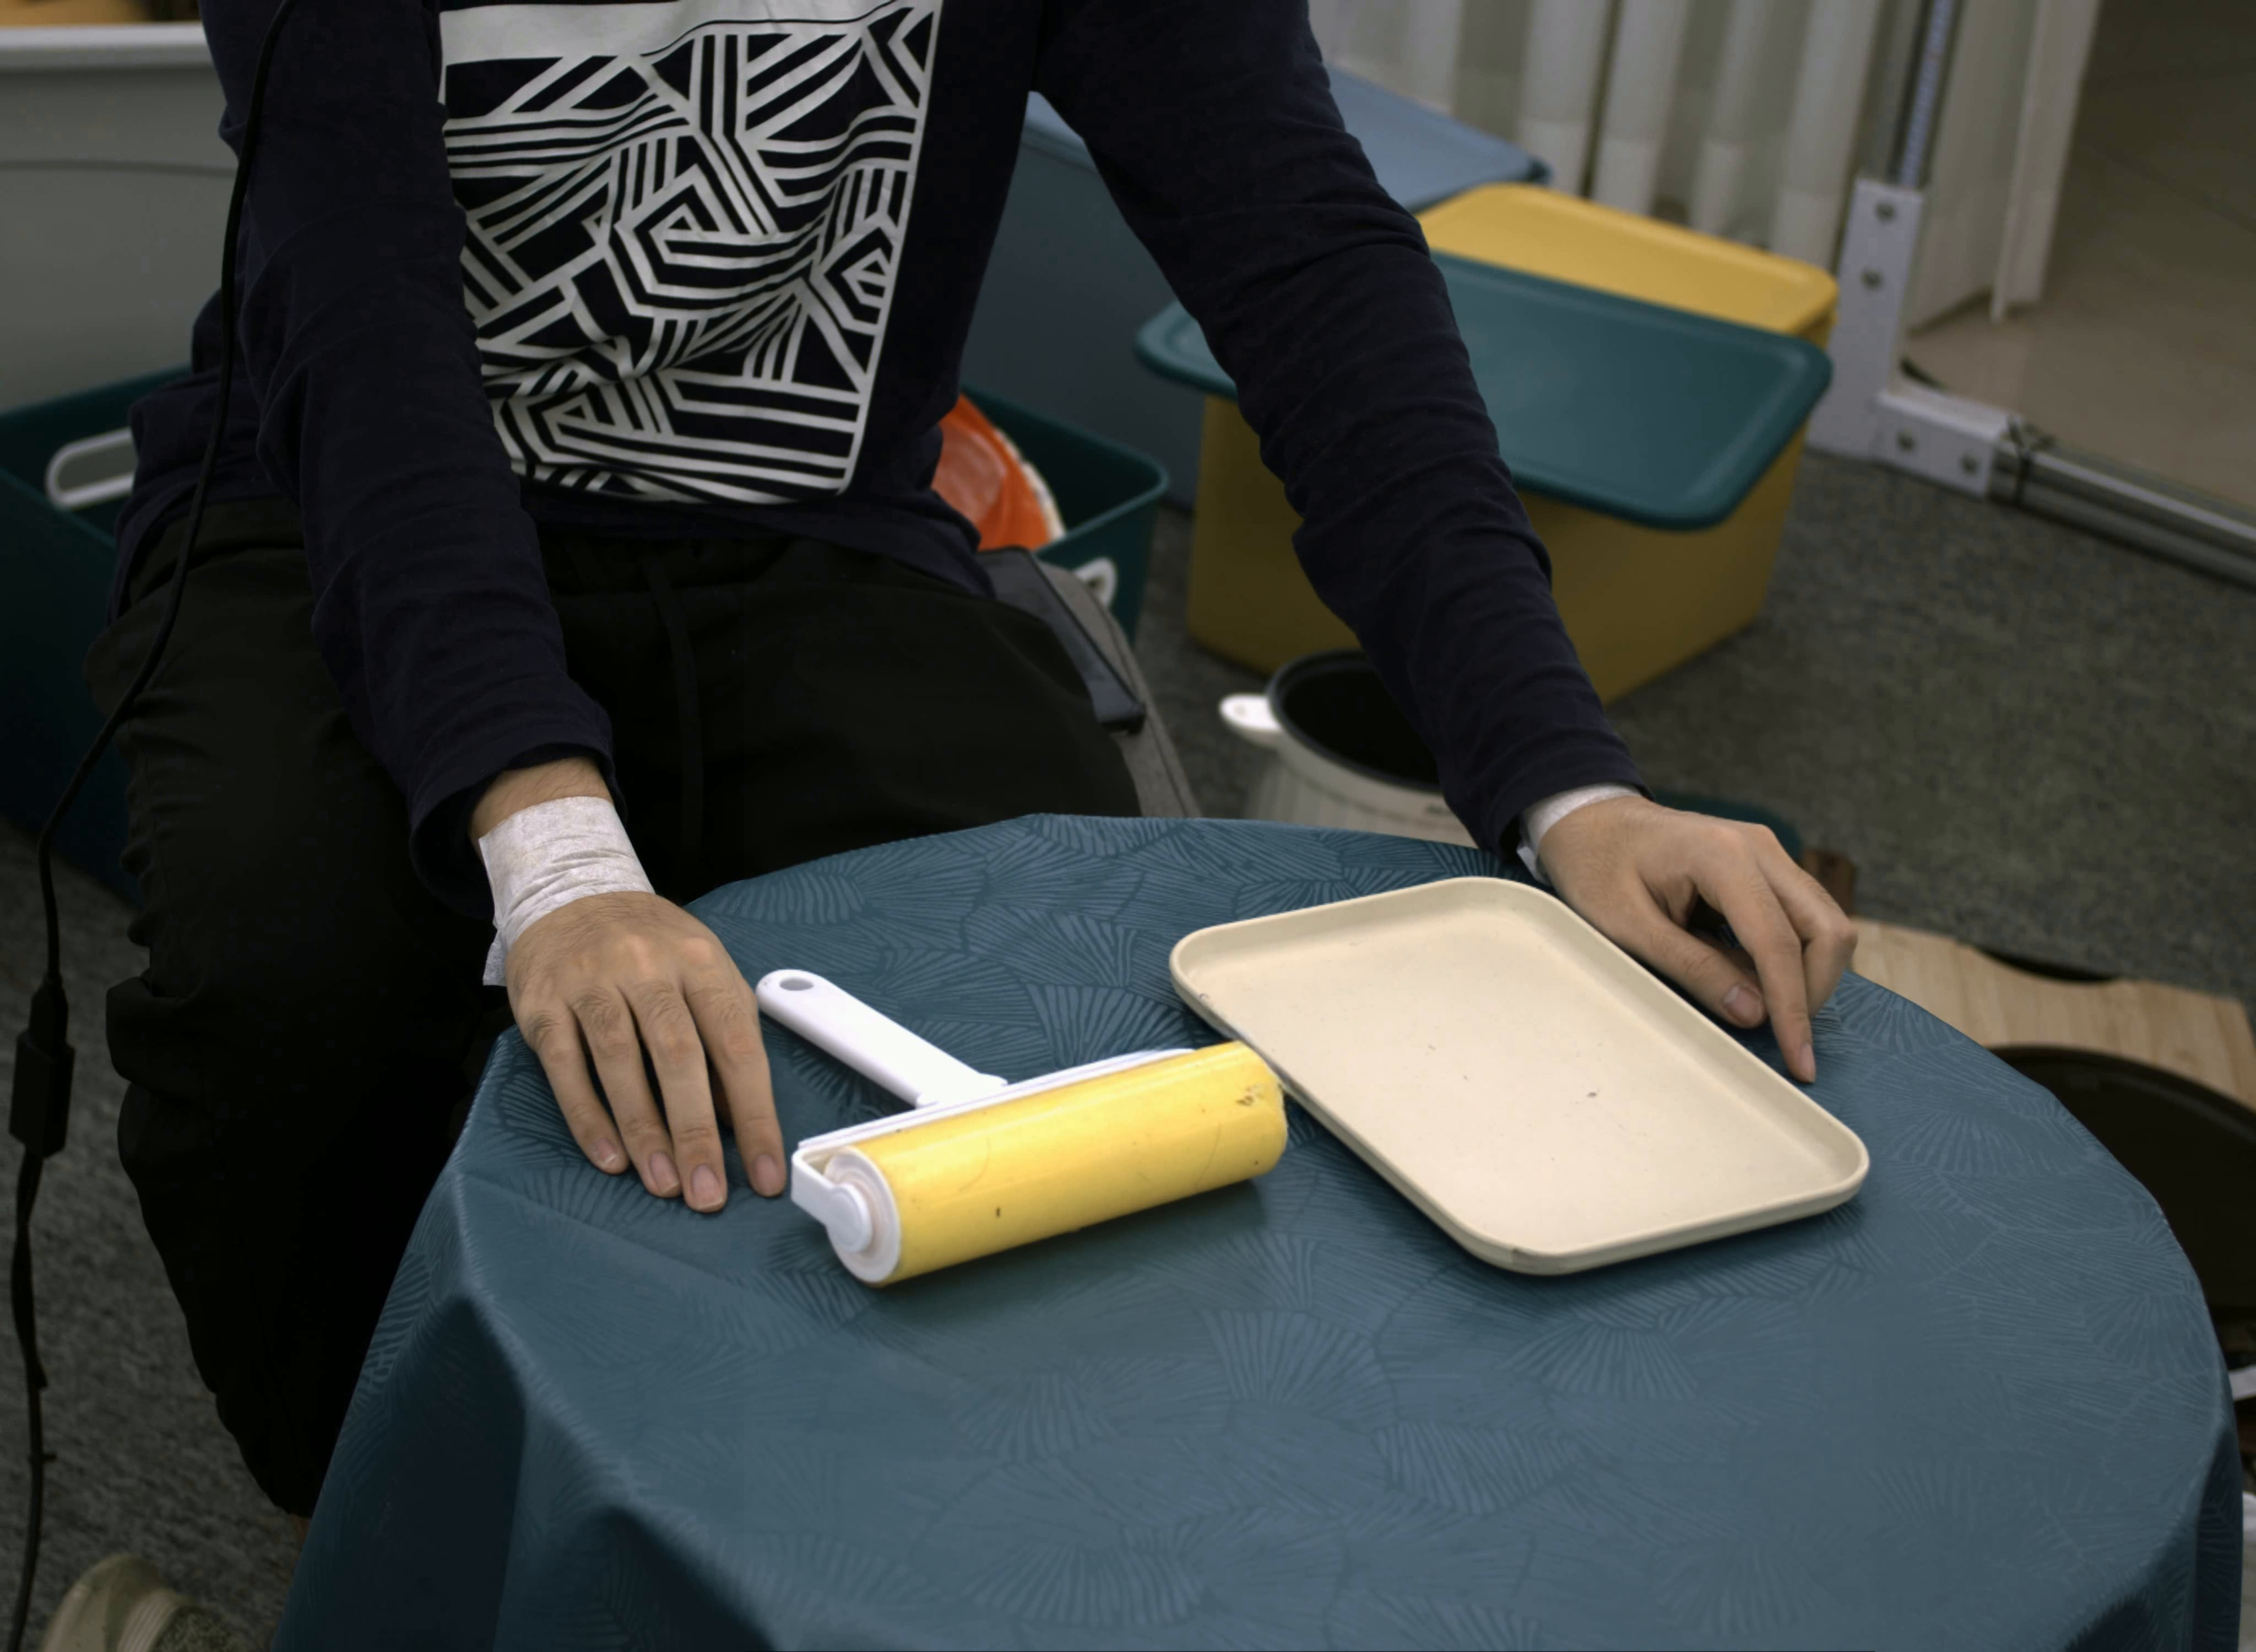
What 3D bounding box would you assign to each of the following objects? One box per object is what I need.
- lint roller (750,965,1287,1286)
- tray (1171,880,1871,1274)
[{"bbox_3d":[-0.067,0.081,1.819,0.173,0.051,0.194,-13,36,-36],"label":"lint roller"},{"bbox_3d":[0.136,0.088,1.888,0.170,0.017,0.242,-9,31,-30],"label":"tray"}]
